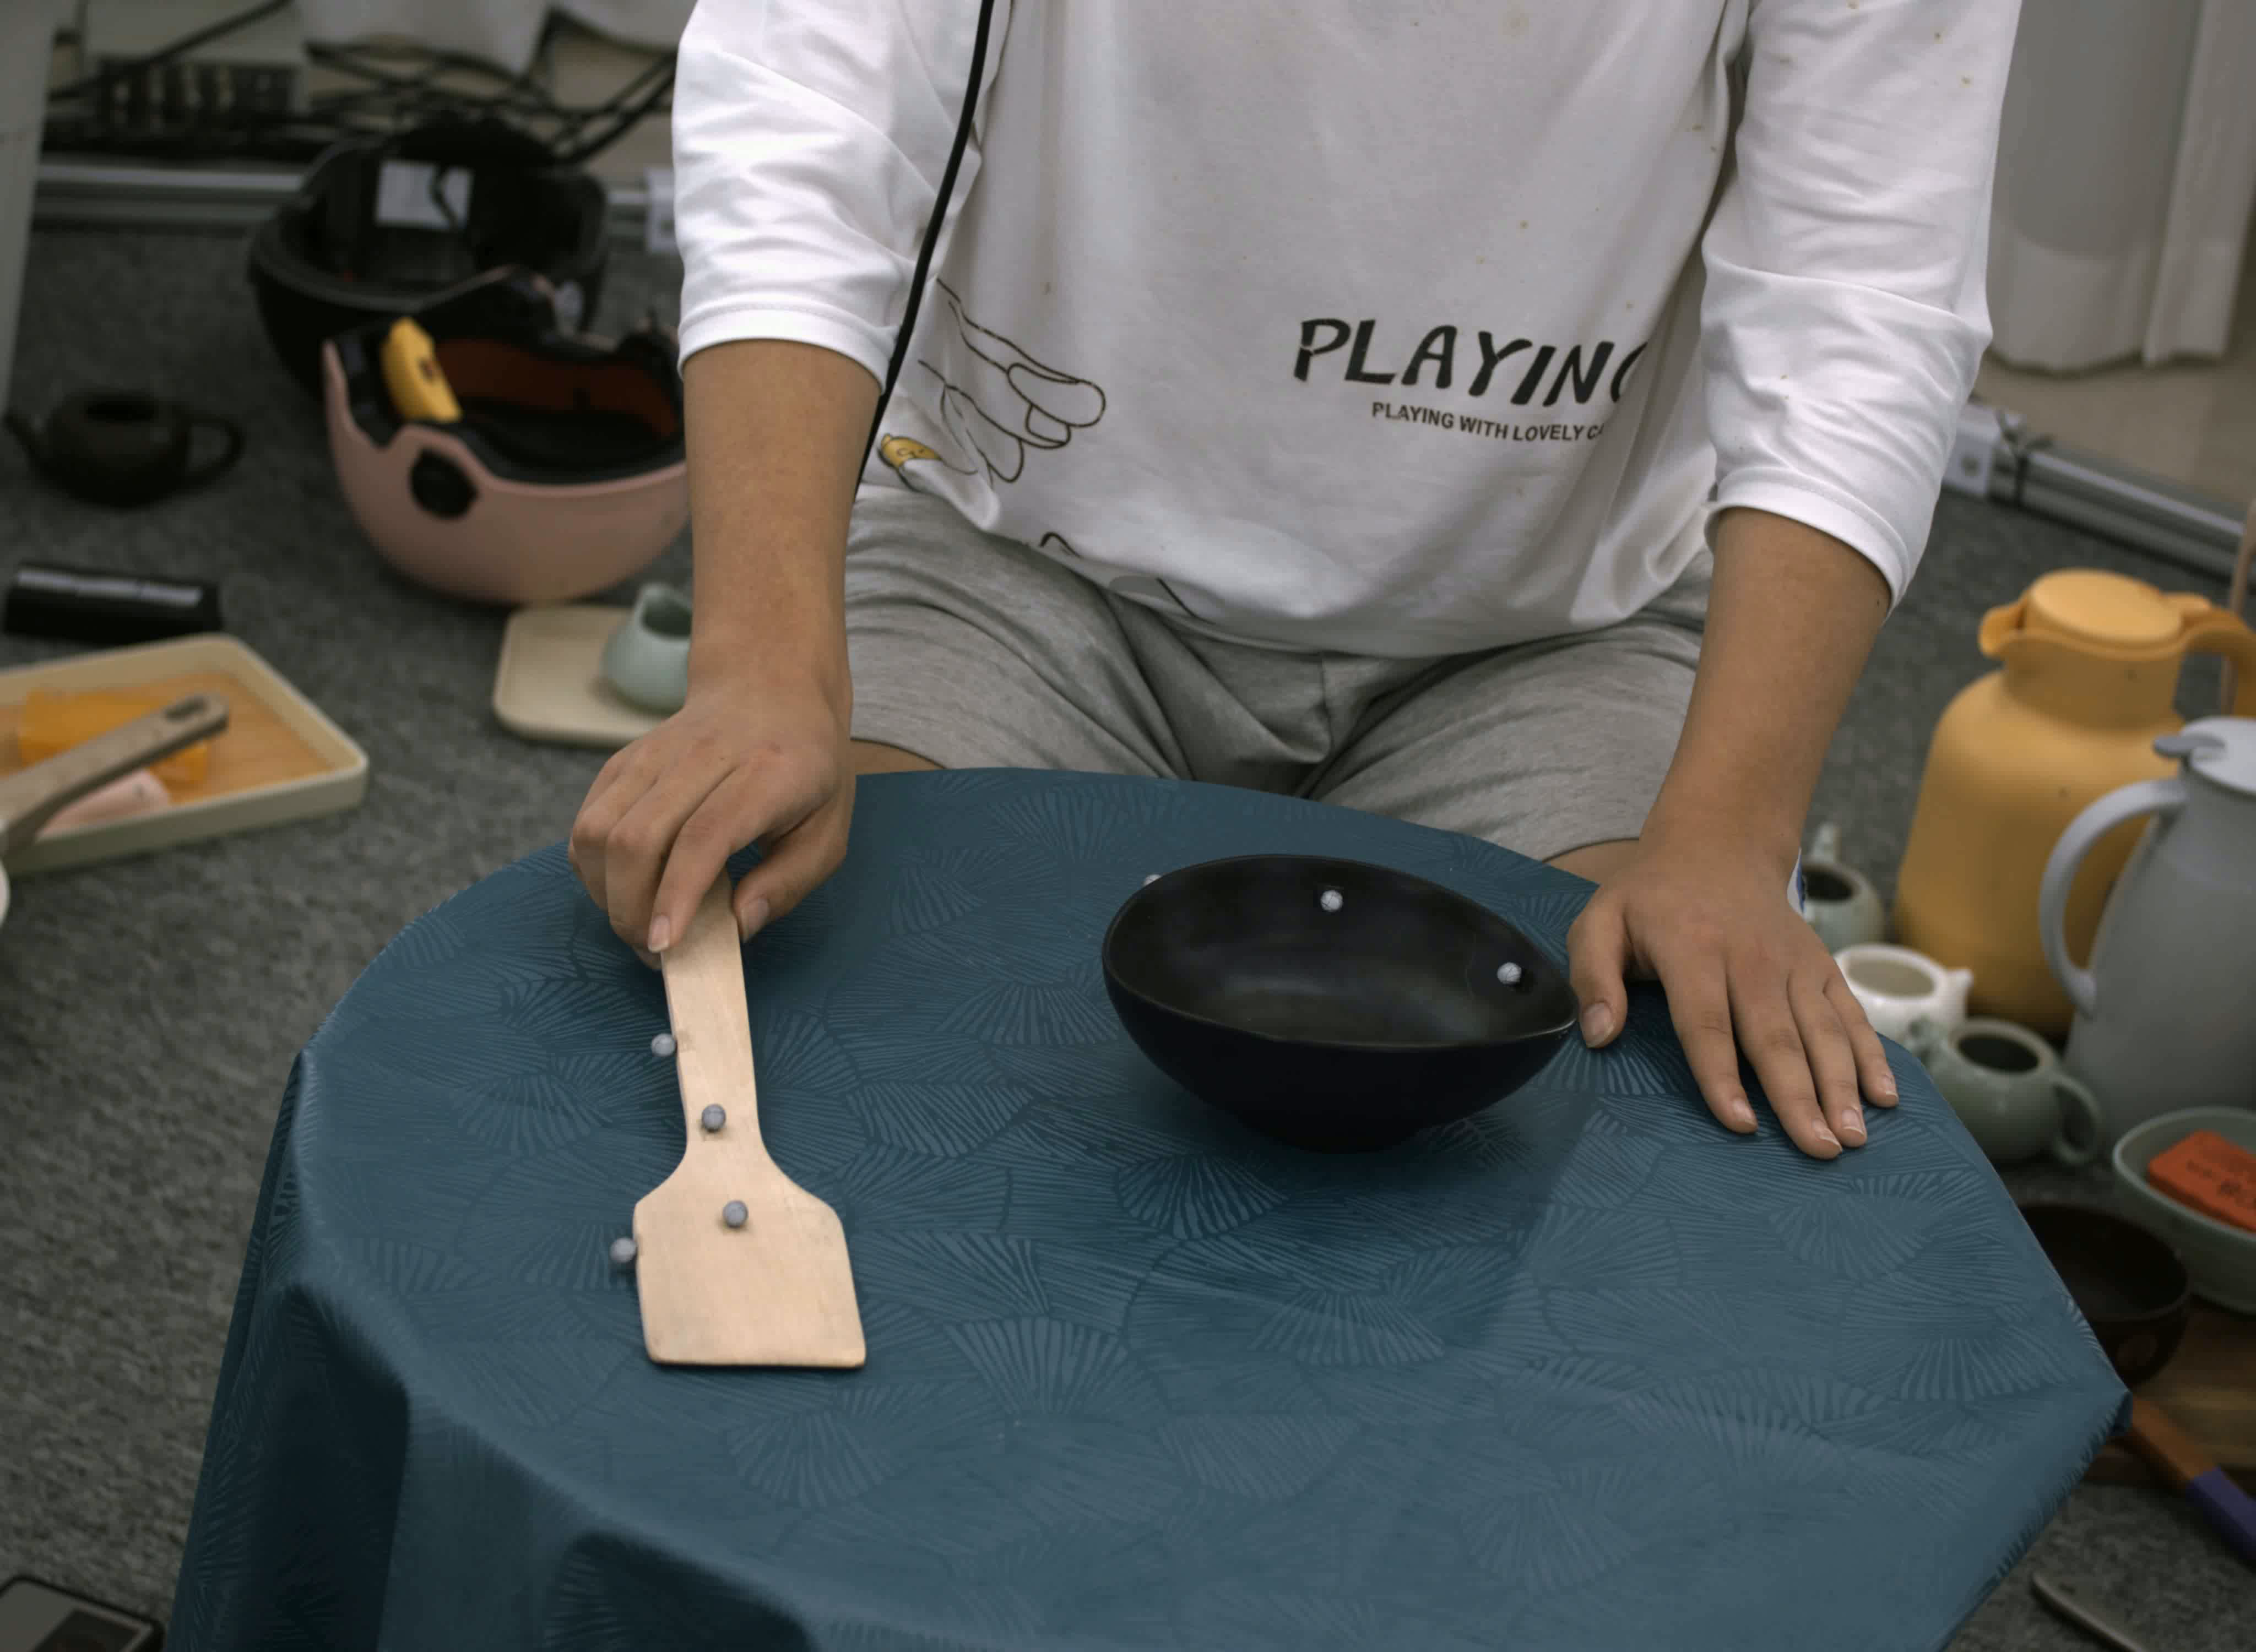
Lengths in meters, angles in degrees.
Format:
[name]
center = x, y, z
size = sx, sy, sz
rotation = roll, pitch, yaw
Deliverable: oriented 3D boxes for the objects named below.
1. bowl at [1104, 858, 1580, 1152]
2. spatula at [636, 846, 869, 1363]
[bowl]
center = 0.071, 0.069, 1.860
size = 0.169, 0.066, 0.138
rotation = 3, 26, -12
[spatula]
center = -0.138, 0.090, 1.804
size = 0.072, 0.010, 0.295
rotation = 1, 33, -11
